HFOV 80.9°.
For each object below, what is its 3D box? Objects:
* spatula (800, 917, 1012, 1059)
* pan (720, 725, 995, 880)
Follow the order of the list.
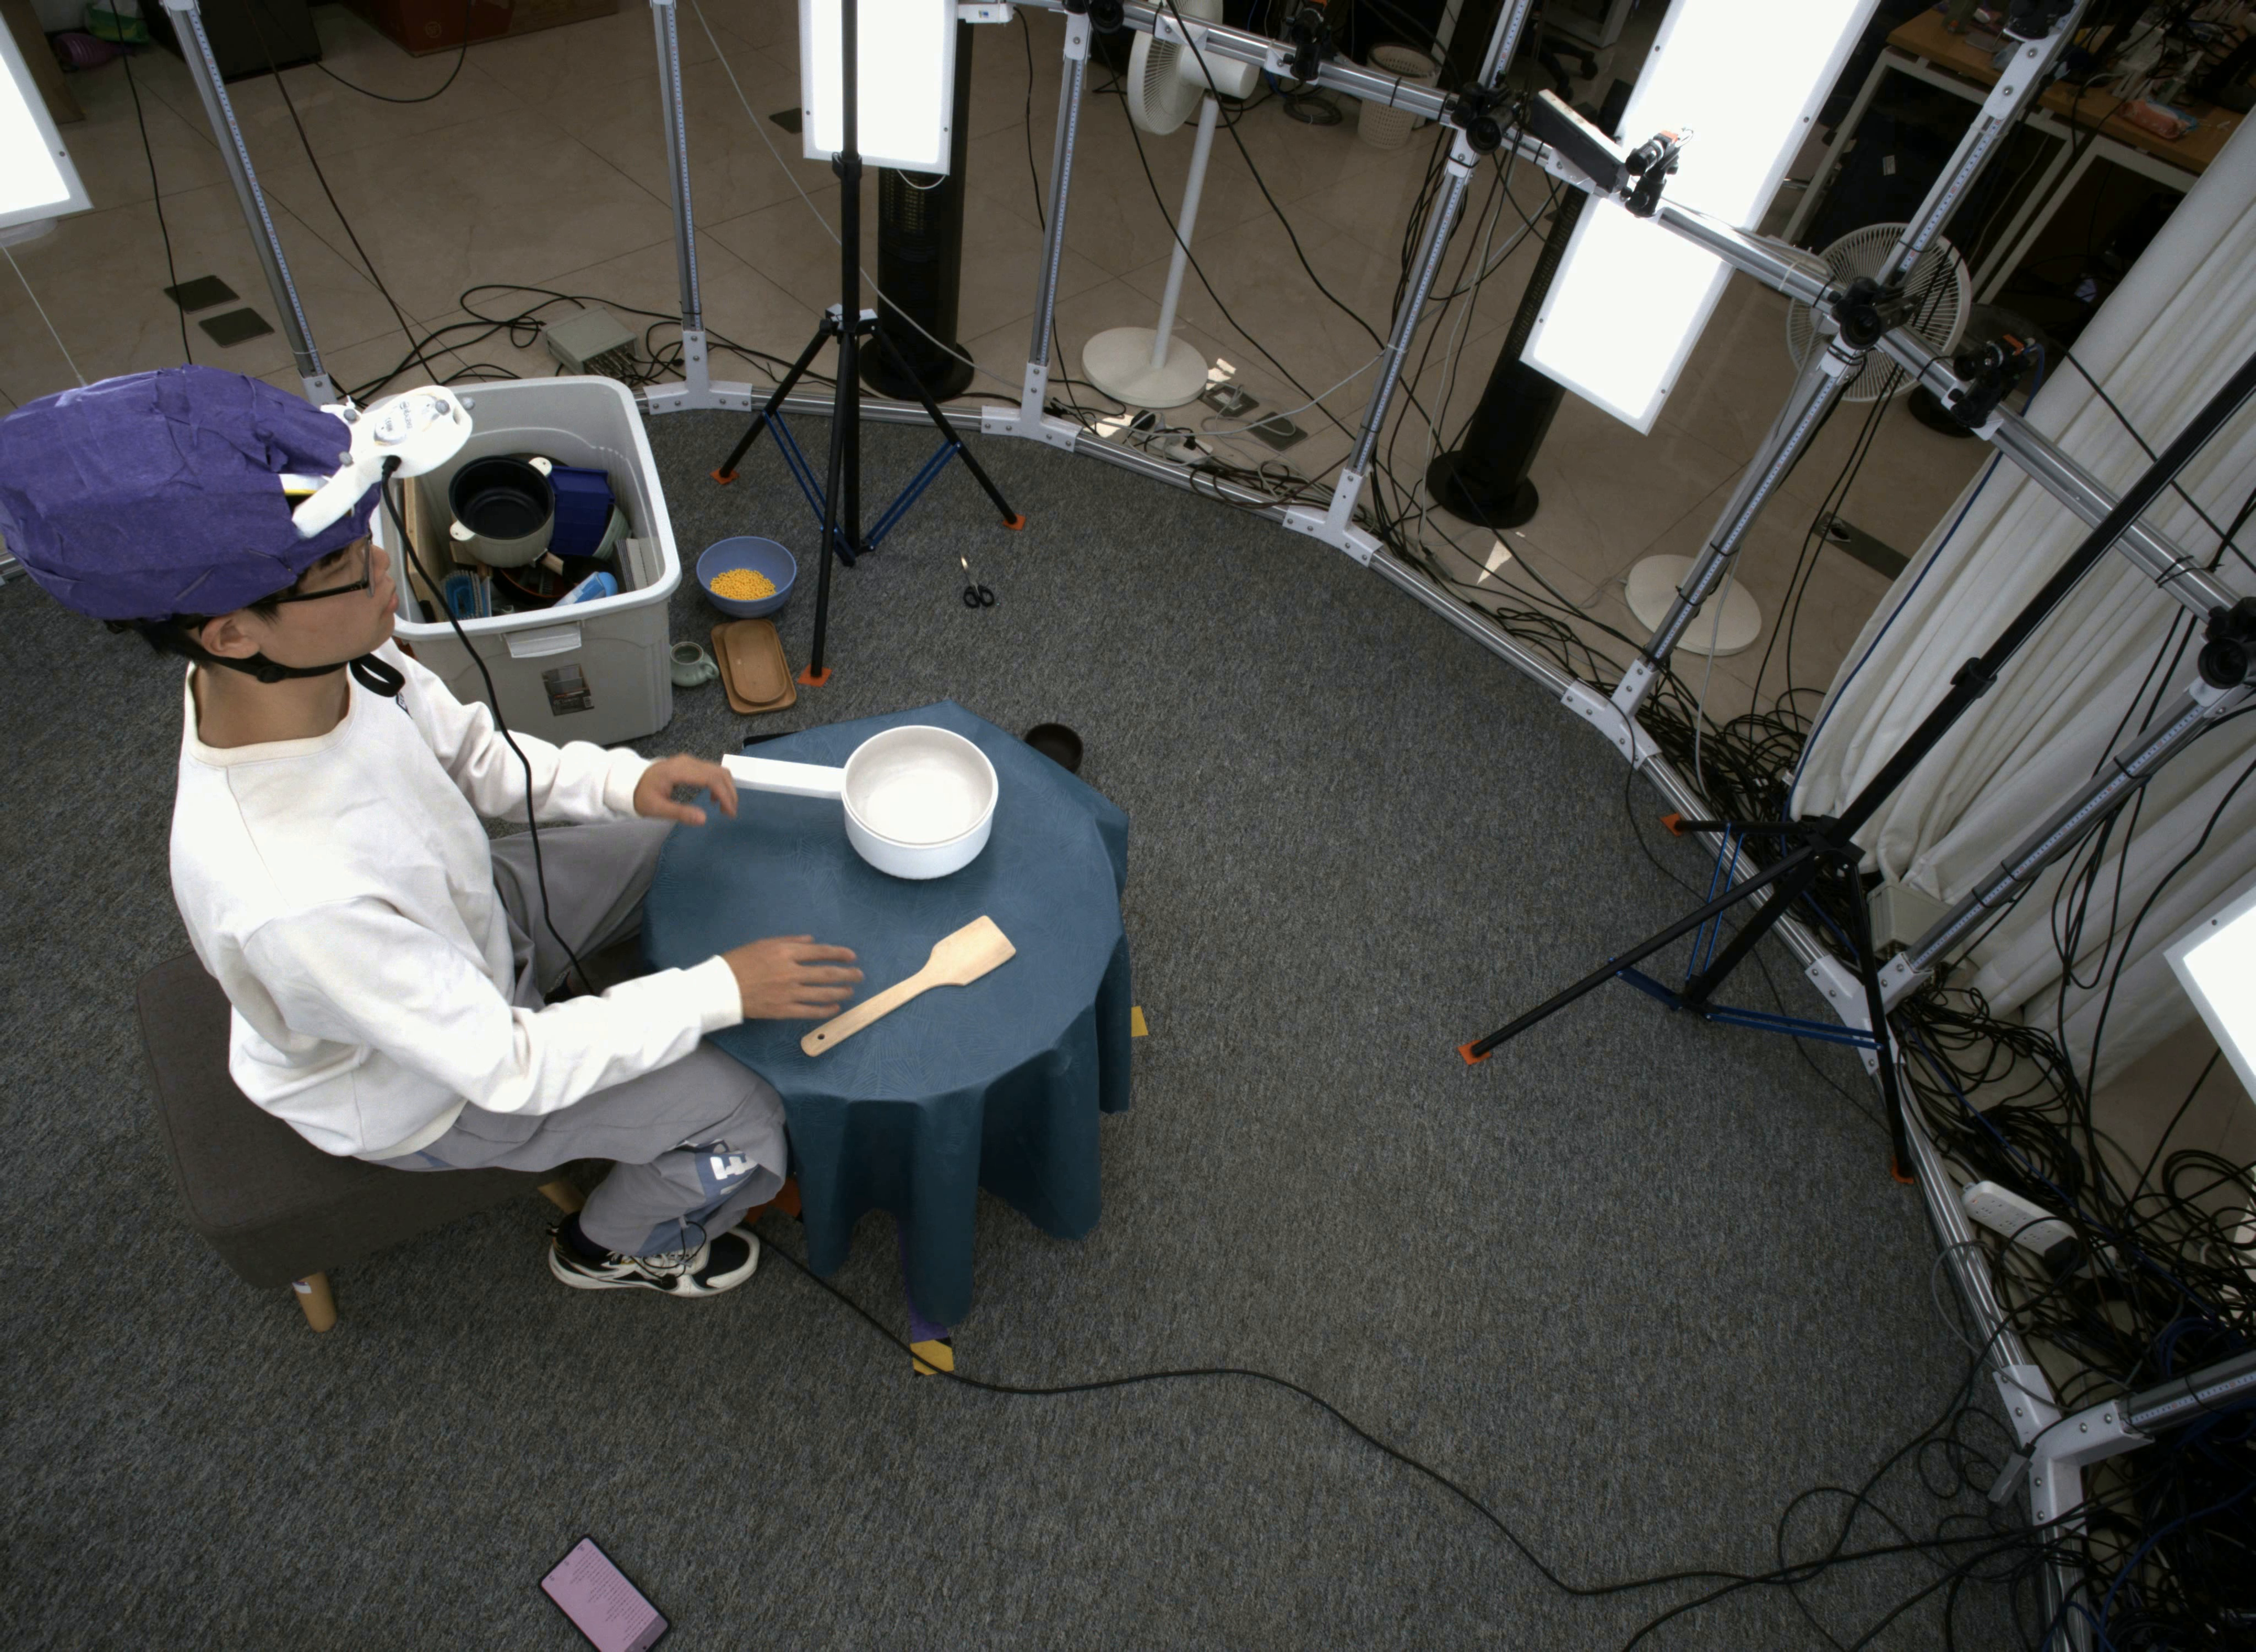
[{"bbox_3d":[-0.276,0.203,1.613,0.294,0.011,0.070,-30,67,-30],"label":"spatula"},{"bbox_3d":[-0.353,-0.035,1.714,0.353,0.104,0.197,6,53,-7],"label":"pan"}]
